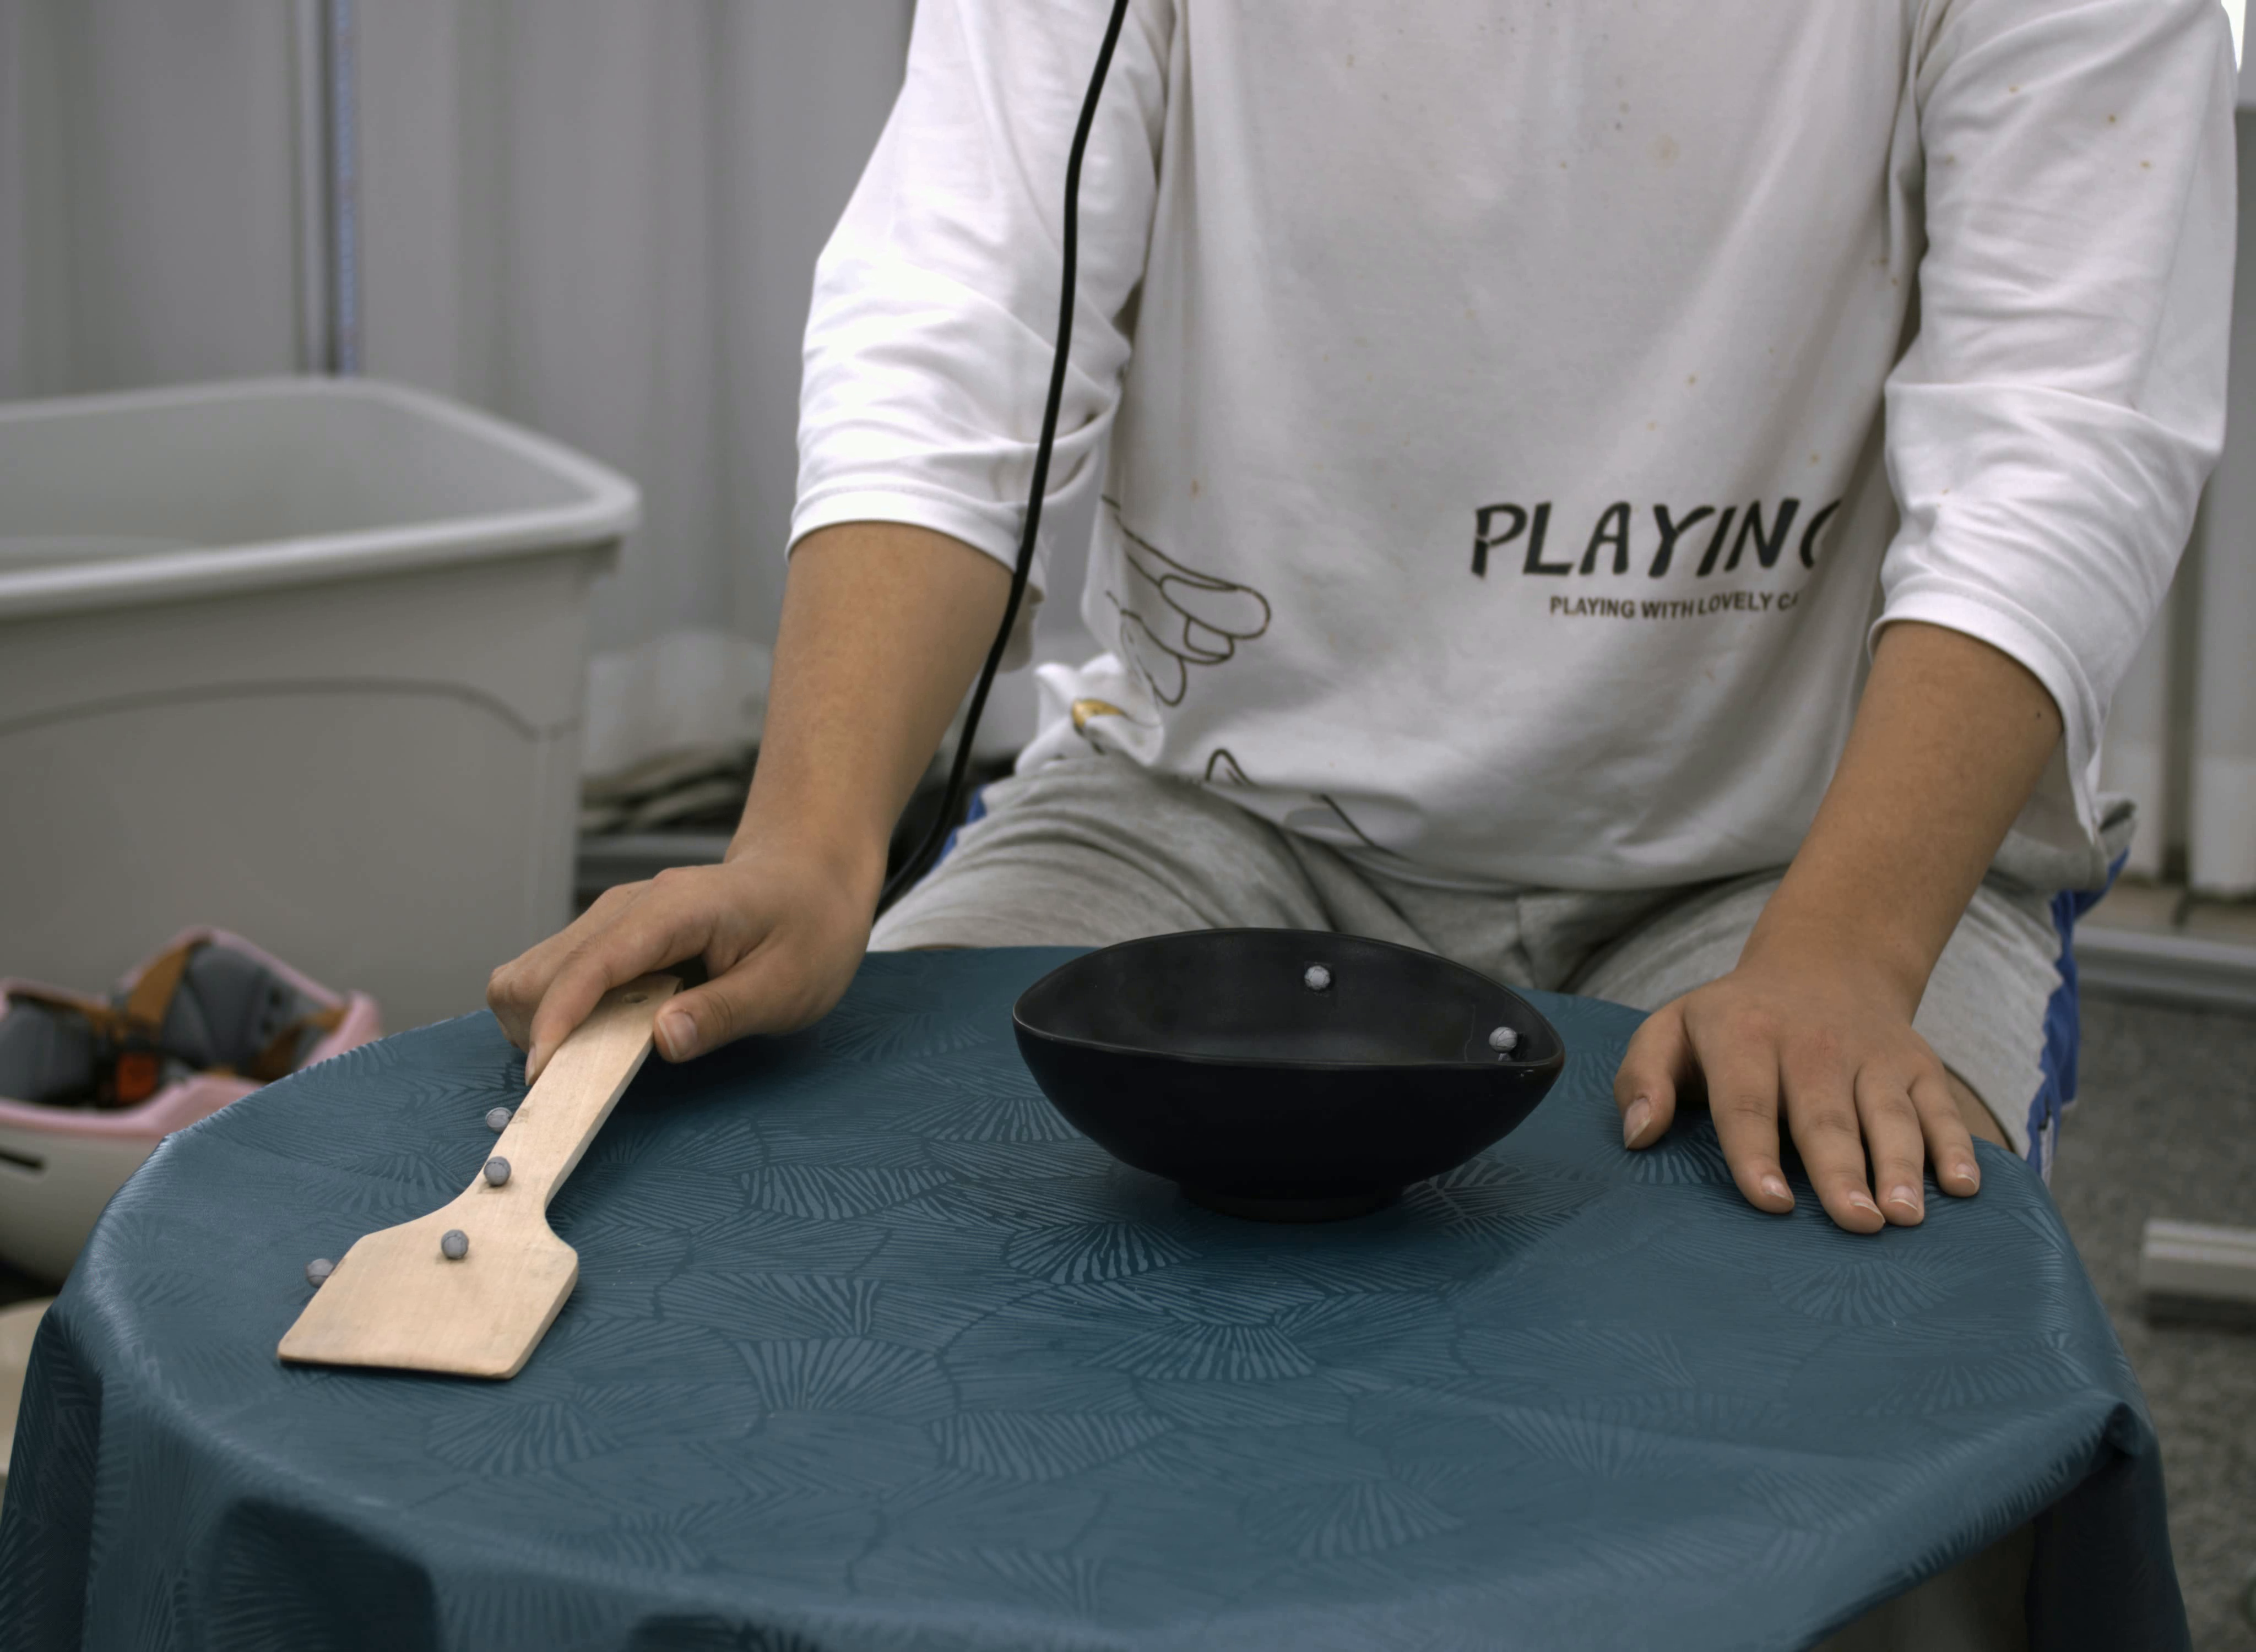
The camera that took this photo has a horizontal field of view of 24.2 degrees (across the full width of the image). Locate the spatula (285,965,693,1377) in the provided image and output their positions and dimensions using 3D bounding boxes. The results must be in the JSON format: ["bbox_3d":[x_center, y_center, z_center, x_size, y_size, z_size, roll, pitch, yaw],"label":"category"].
[{"bbox_3d":[-0.181,0.101,1.604,0.072,0.011,0.292,3,22,9],"label":"spatula"}]

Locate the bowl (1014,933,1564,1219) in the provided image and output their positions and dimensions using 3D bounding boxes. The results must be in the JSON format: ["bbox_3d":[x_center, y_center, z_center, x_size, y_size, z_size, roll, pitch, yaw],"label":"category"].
[{"bbox_3d":[0.049,0.081,1.627,0.170,0.067,0.136,3,15,0],"label":"bowl"}]
